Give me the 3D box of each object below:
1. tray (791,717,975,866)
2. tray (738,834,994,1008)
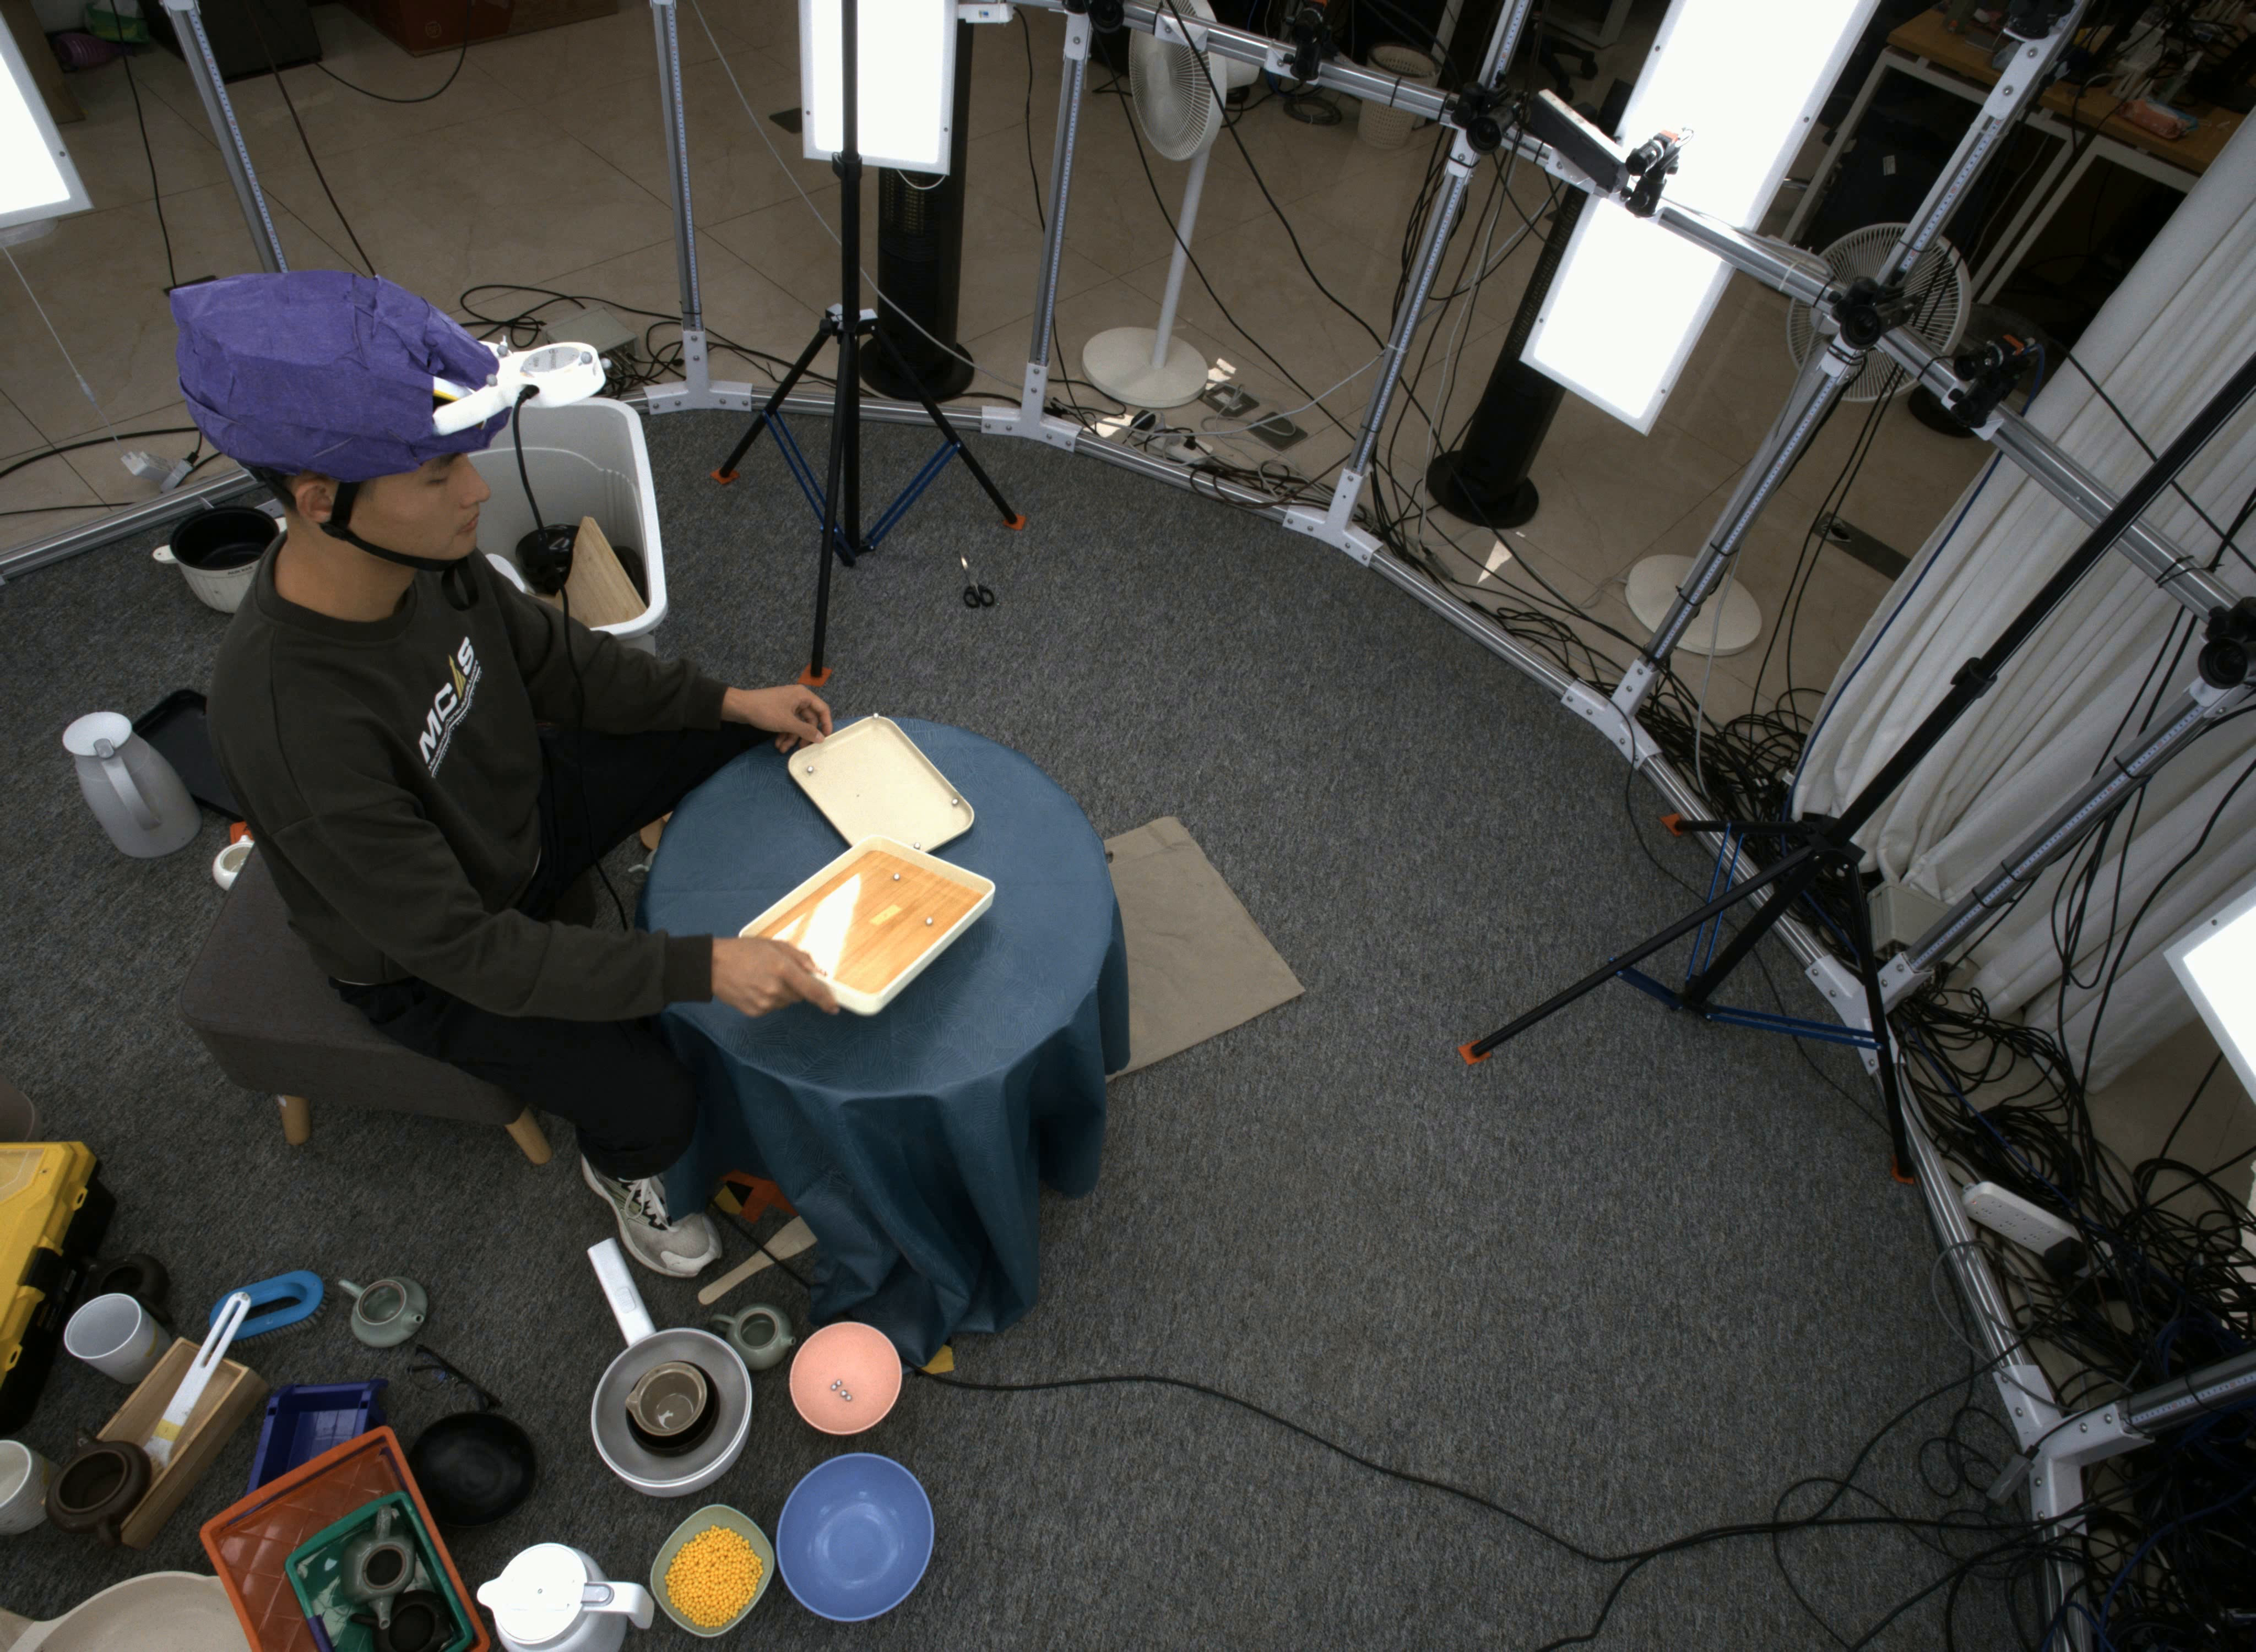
[{"bbox_3d":[-0.335,-0.045,1.779,0.172,0.018,0.234,-32,66,-30],"label":"tray"},{"bbox_3d":[-0.309,0.105,1.573,0.187,0.028,0.300,22,30,13],"label":"tray"}]
